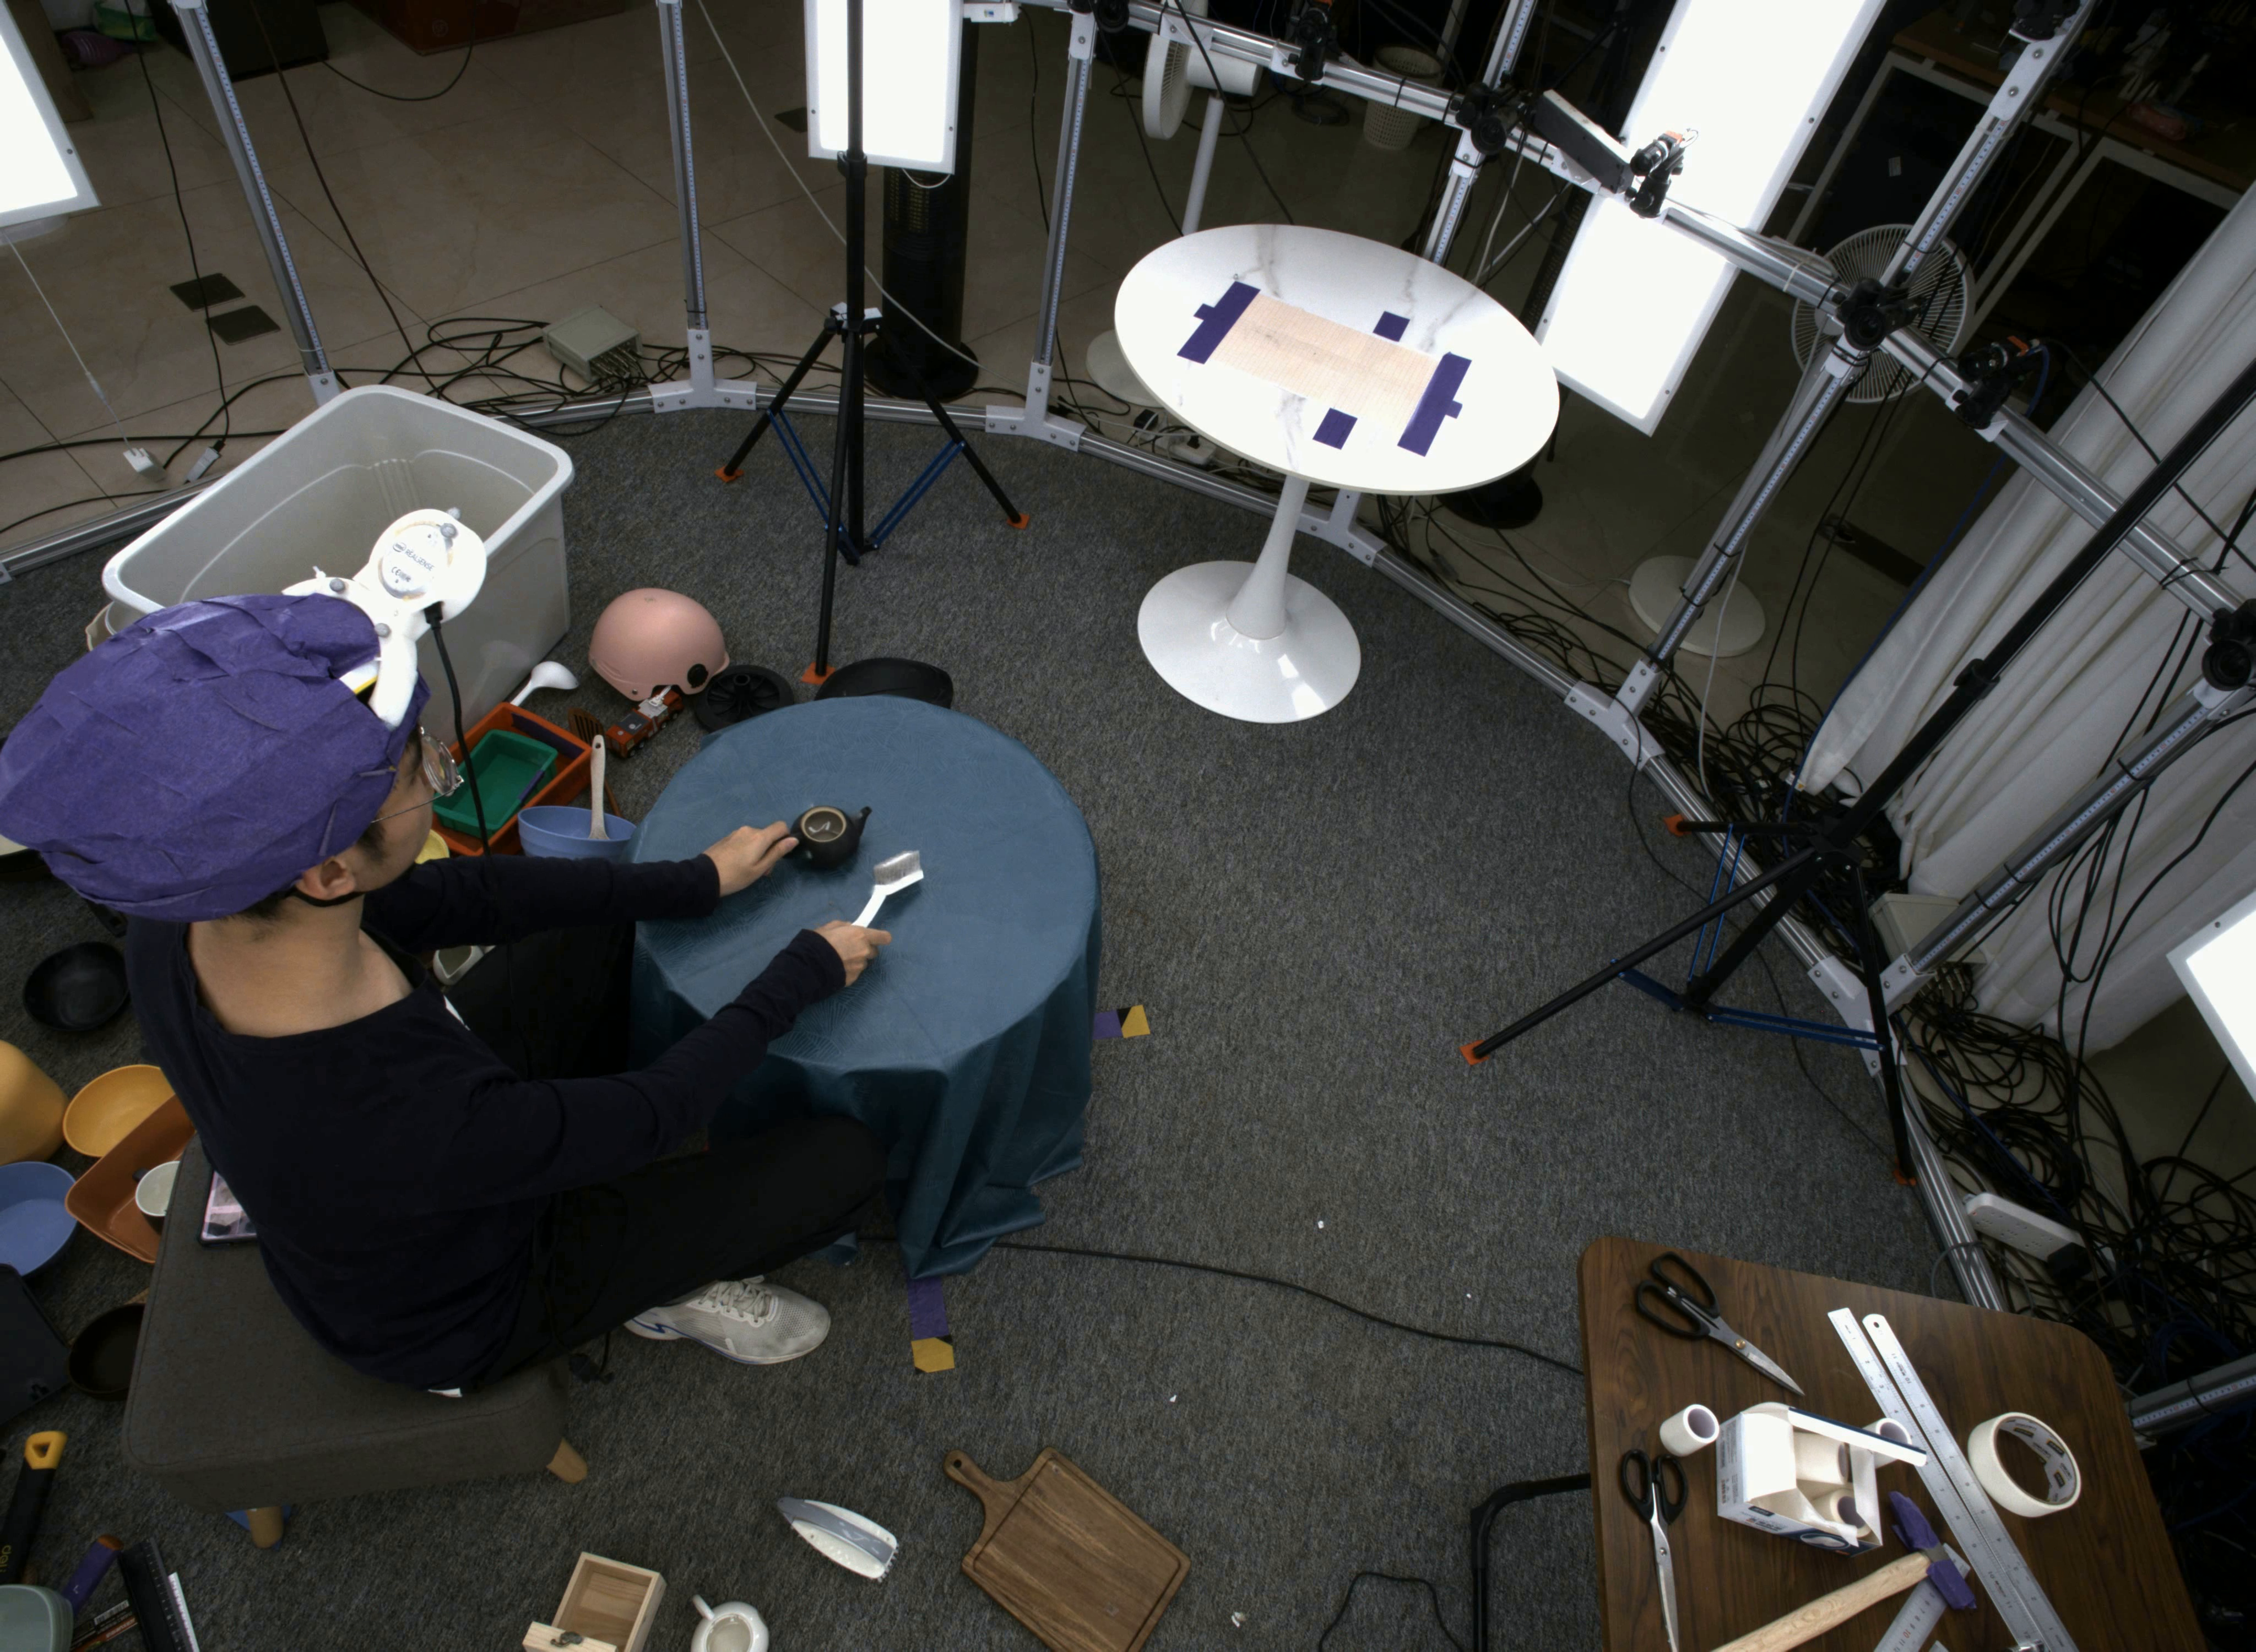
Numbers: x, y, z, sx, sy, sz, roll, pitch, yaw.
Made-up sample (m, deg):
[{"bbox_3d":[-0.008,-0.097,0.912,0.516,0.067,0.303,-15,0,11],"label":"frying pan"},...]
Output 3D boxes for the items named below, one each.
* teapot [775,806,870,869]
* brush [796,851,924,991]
[{"bbox_3d":[-0.396,0.013,1.688,0.134,0.054,0.088,-24,59,-27],"label":"teapot"},{"bbox_3d":[-0.337,0.108,1.621,0.033,0.052,0.243,9,40,33],"label":"brush"}]
